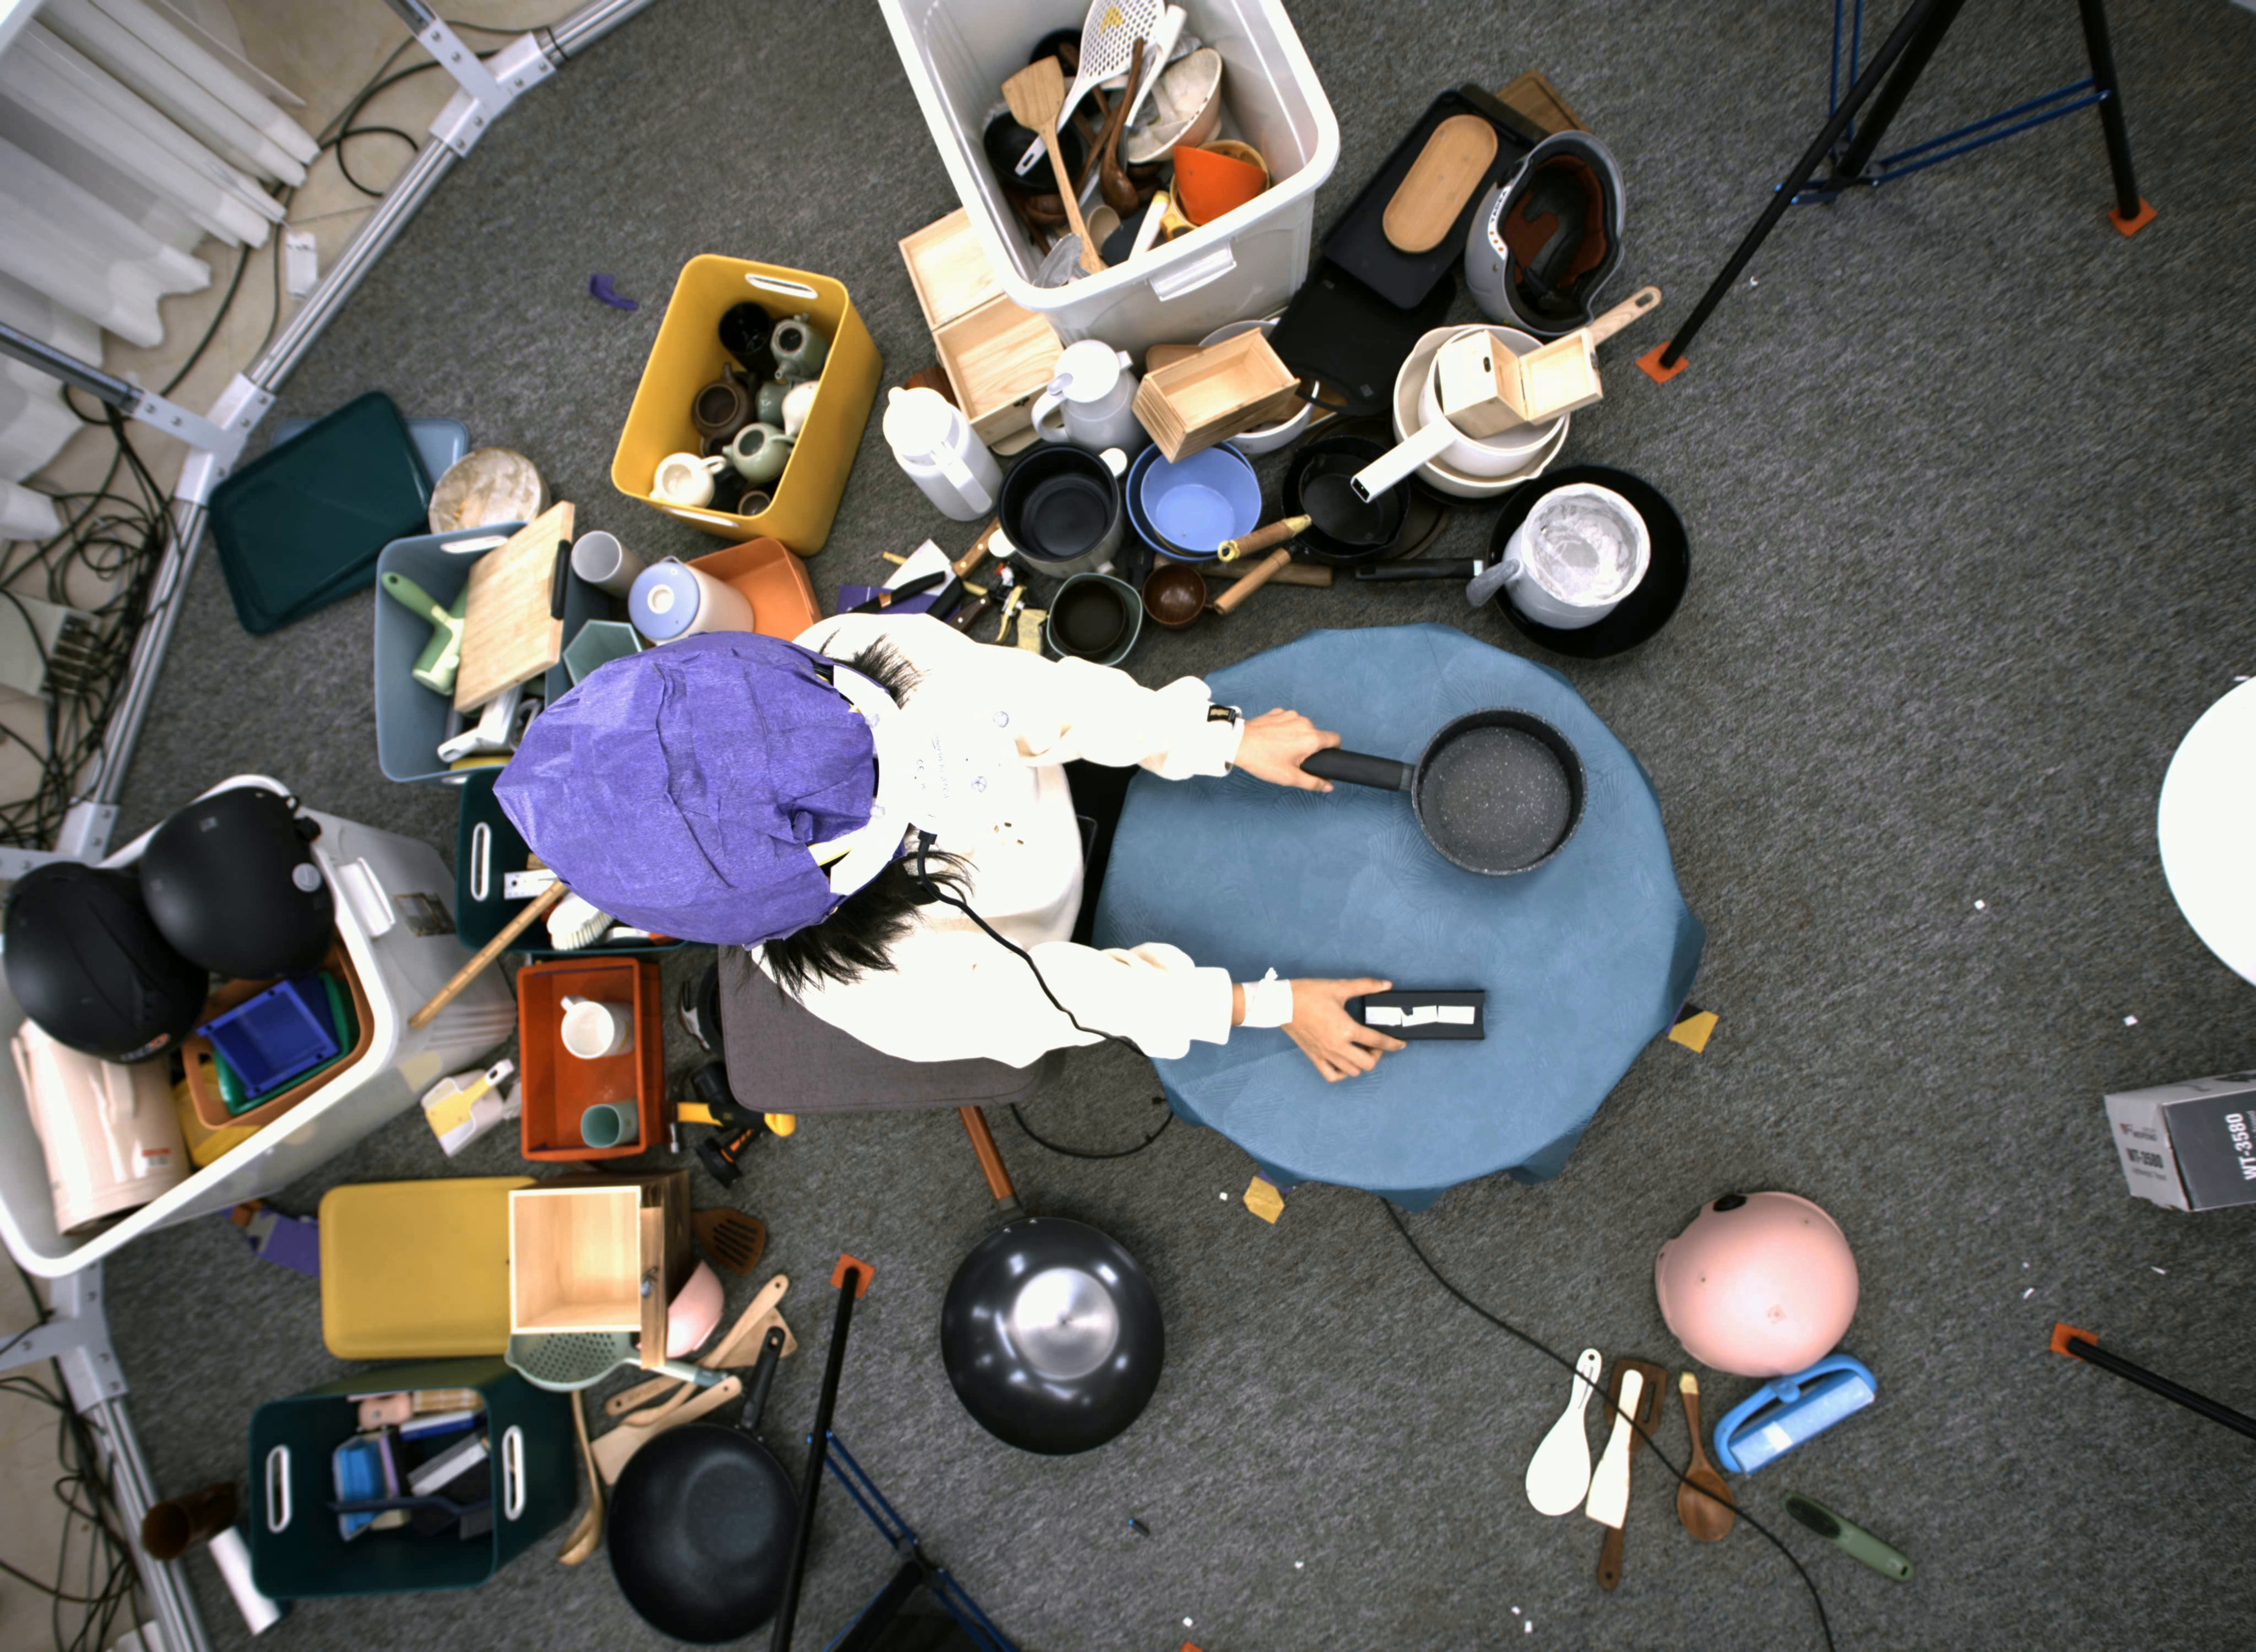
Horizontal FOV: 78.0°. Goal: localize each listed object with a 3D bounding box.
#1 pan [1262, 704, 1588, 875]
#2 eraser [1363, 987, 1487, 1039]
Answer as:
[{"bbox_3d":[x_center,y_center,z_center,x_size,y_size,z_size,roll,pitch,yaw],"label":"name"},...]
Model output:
[{"bbox_3d":[0.301,-0.051,1.418,0.329,0.086,0.171,13,87,11],"label":"pan"},{"bbox_3d":[0.307,0.193,1.432,0.126,0.030,0.053,-2,82,12],"label":"eraser"}]
